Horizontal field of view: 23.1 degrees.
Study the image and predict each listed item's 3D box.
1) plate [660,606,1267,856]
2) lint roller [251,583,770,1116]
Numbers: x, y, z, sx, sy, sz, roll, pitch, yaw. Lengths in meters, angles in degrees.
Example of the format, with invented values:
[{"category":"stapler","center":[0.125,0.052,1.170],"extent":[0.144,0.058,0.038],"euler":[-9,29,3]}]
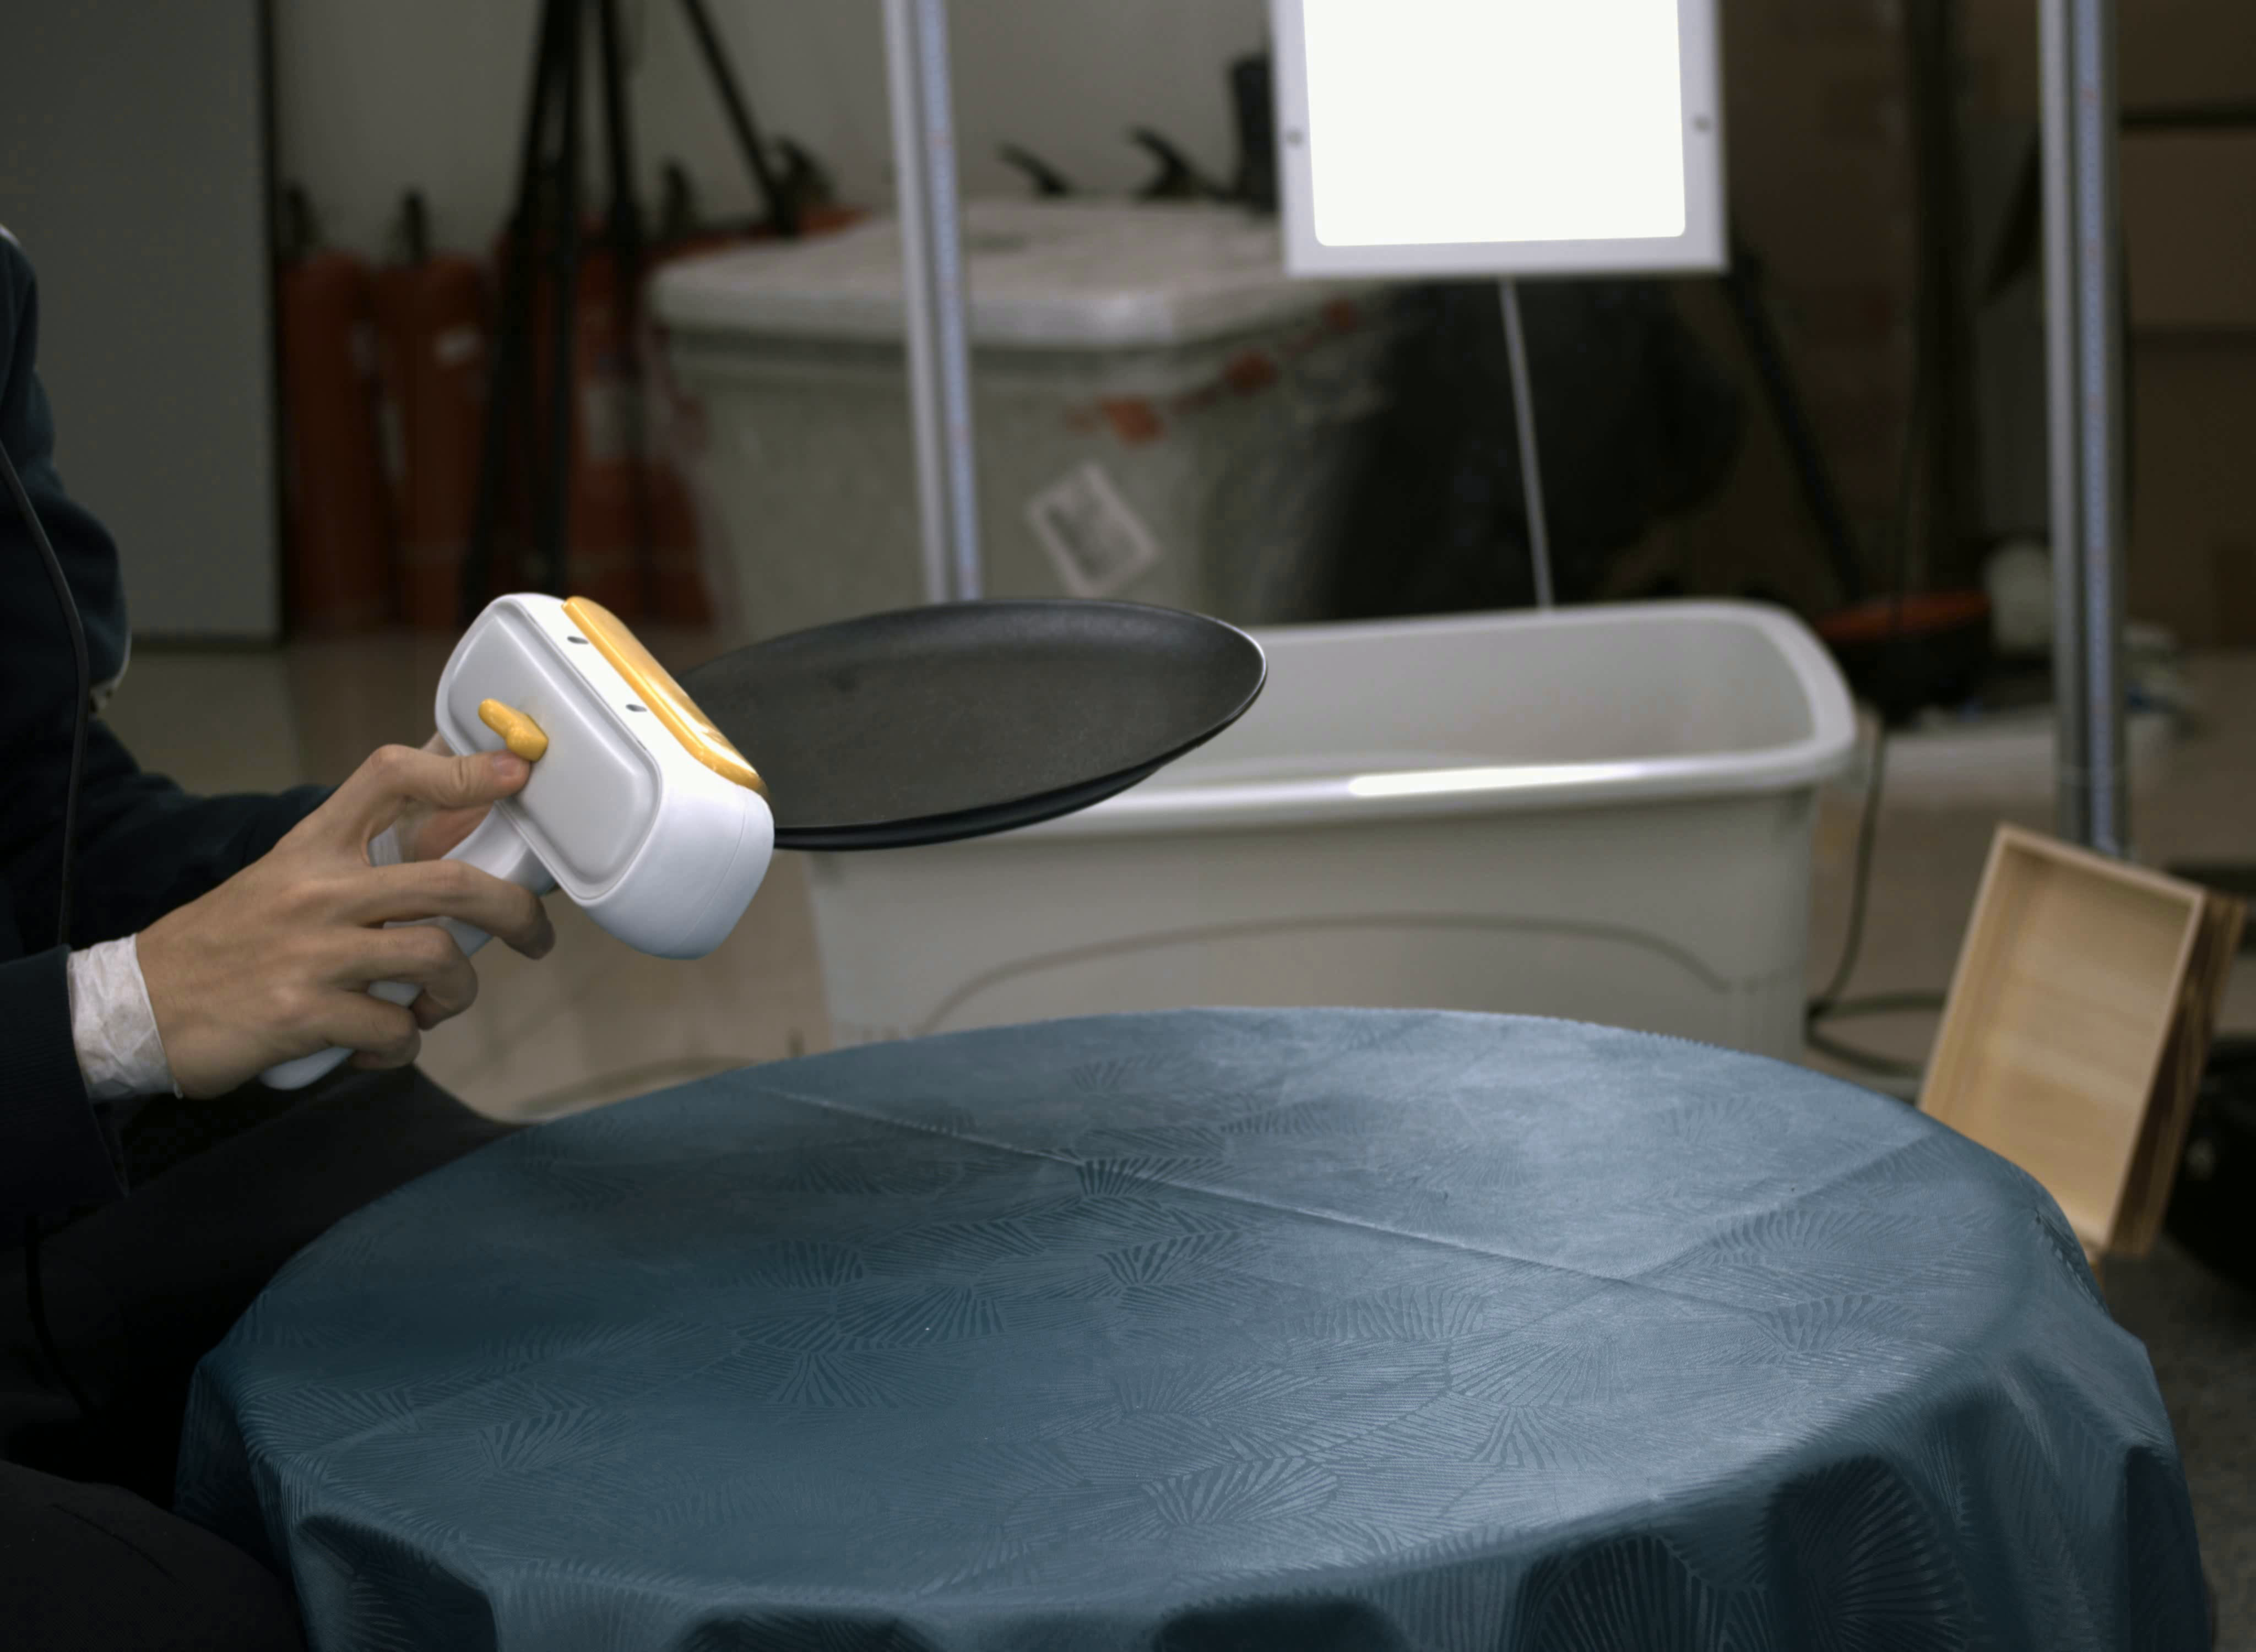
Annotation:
[{"category":"plate","center":[-0.070,-0.031,1.940],"extent":[0.244,0.023,0.244],"euler":[-9,18,1]},{"category":"lint roller","center":[-0.220,0.022,1.866],"extent":[0.073,0.193,0.196],"euler":[32,4,-40]}]
